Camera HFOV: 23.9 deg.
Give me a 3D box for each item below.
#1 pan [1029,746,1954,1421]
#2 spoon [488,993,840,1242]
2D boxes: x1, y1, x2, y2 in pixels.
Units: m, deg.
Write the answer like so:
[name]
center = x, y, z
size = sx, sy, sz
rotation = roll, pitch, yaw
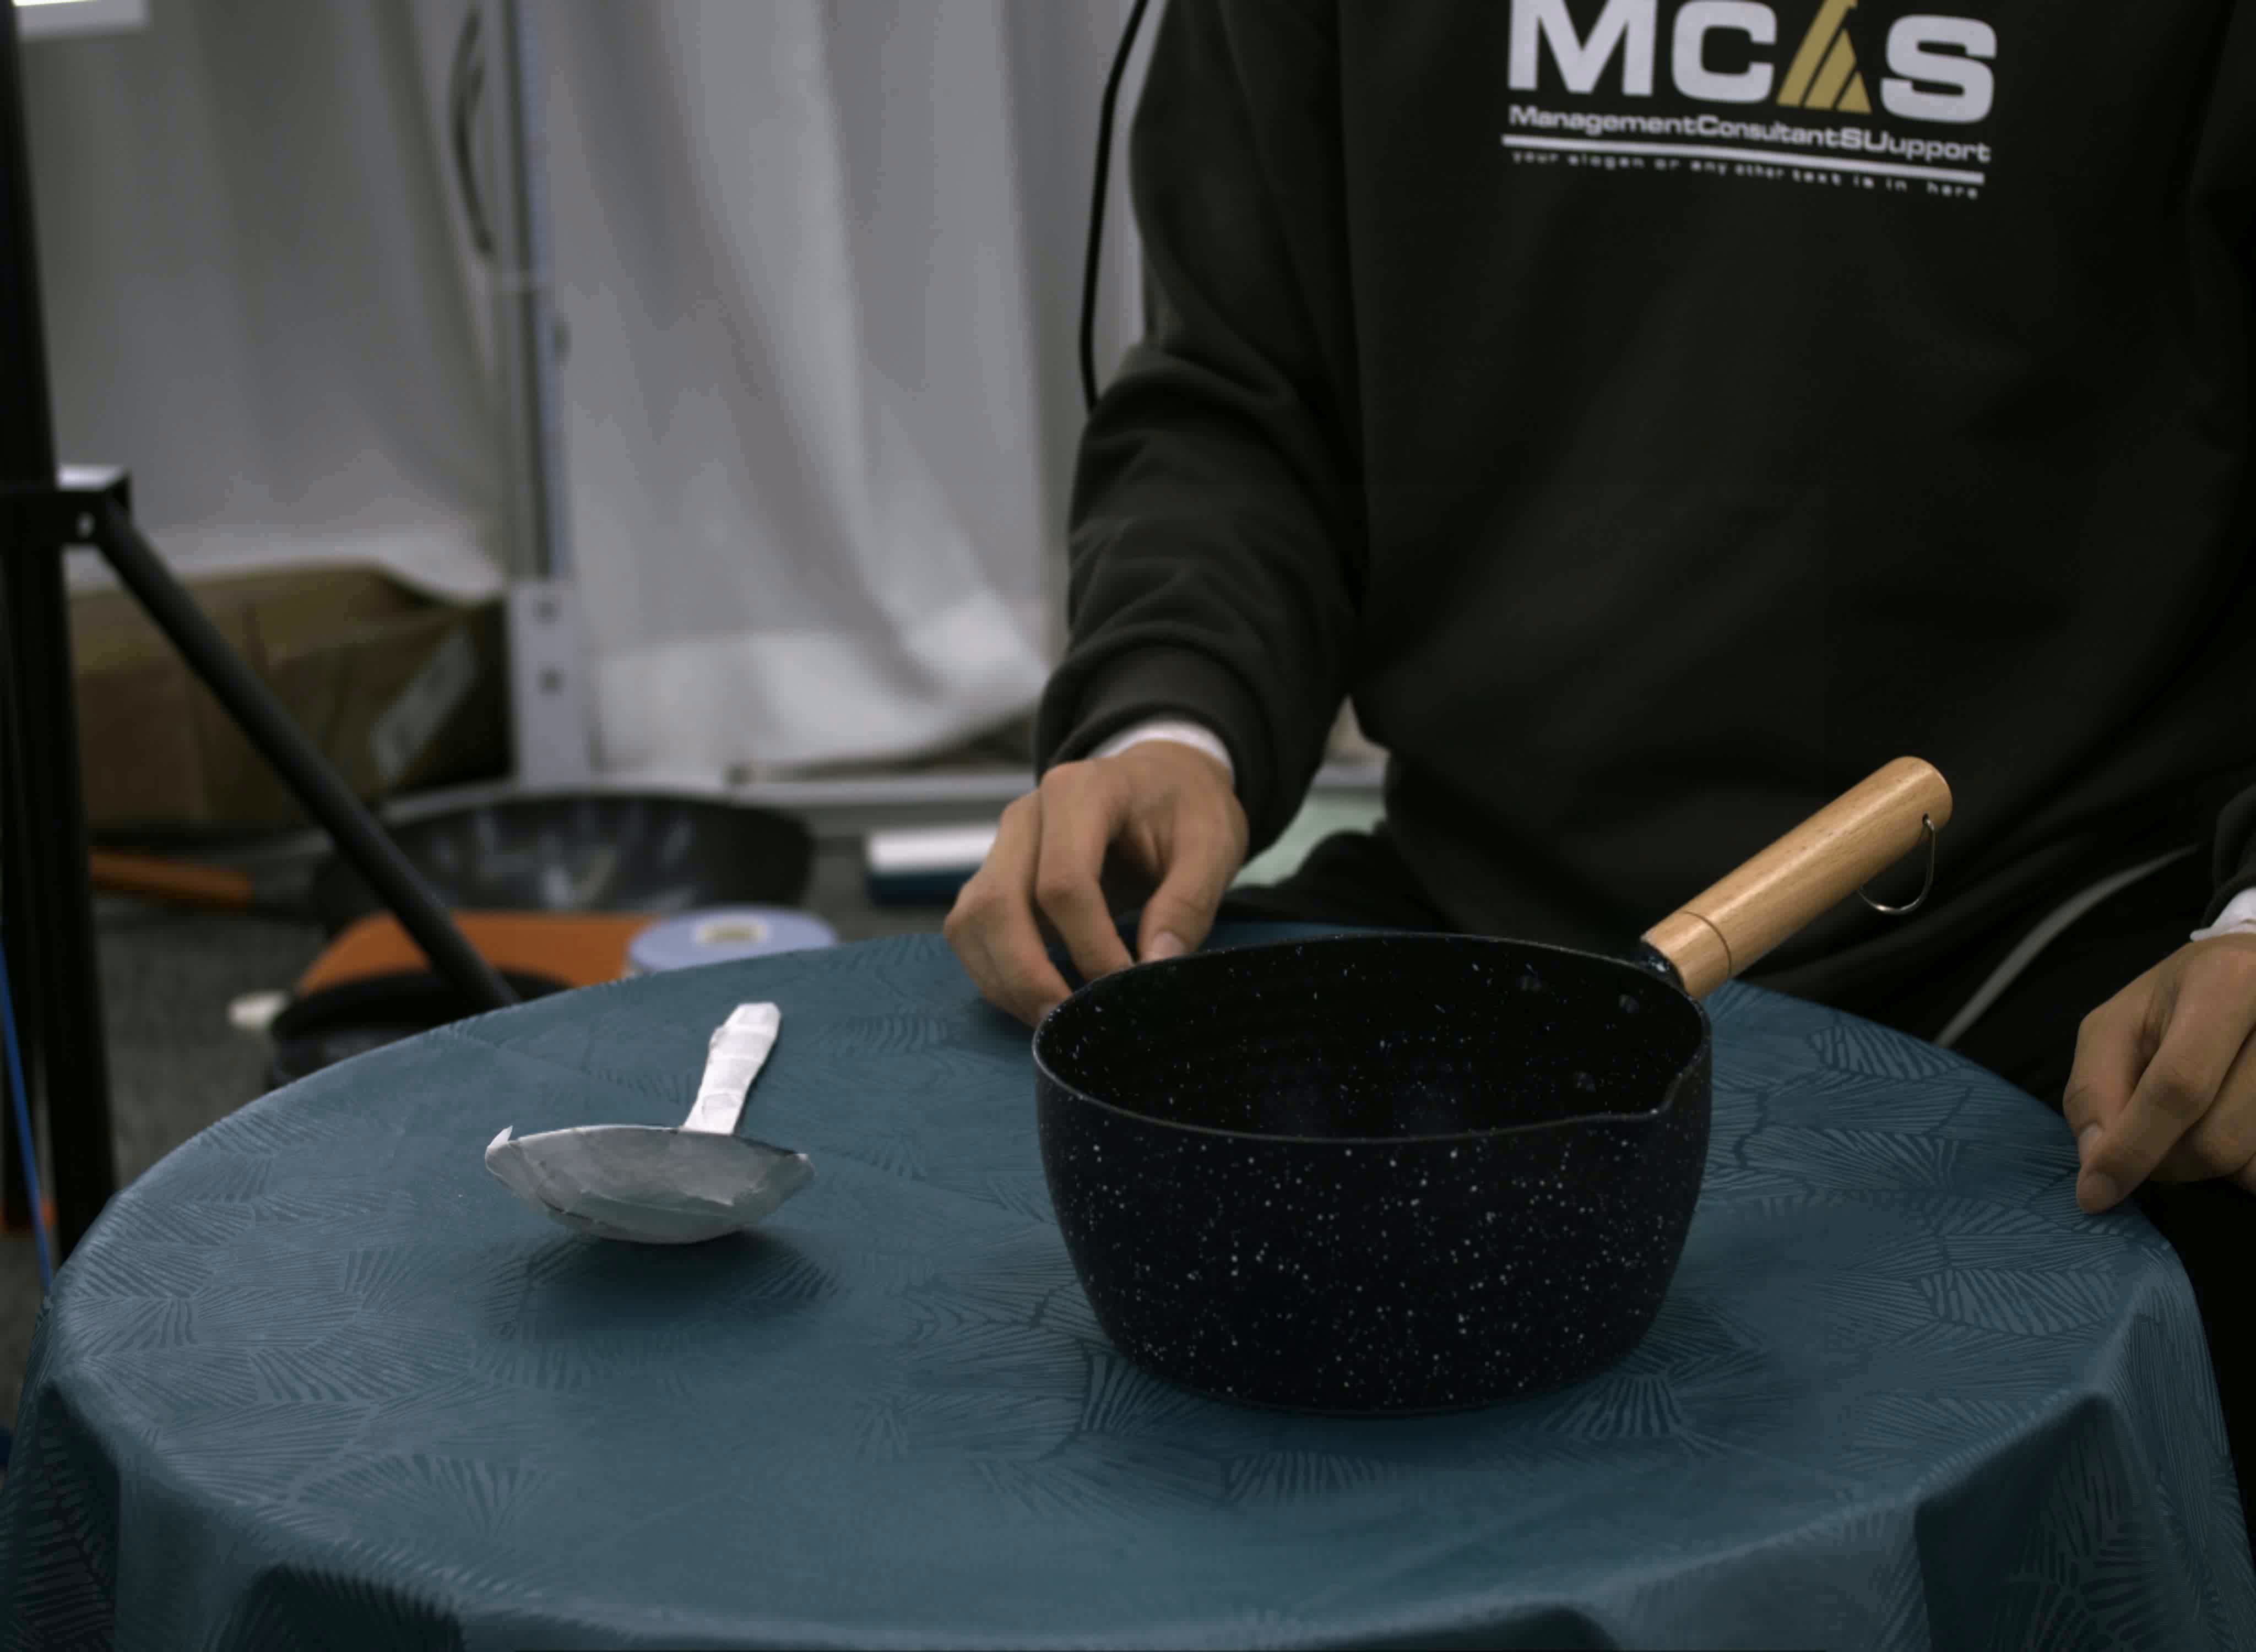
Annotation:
[pan]
center = 0.121, 0.067, 1.491
size = 0.212, 0.108, 0.335
rotation = 11, 22, 44
[spoon]
center = -0.121, 0.070, 1.609
size = 0.101, 0.059, 0.277
rotation = 2, 16, 7
